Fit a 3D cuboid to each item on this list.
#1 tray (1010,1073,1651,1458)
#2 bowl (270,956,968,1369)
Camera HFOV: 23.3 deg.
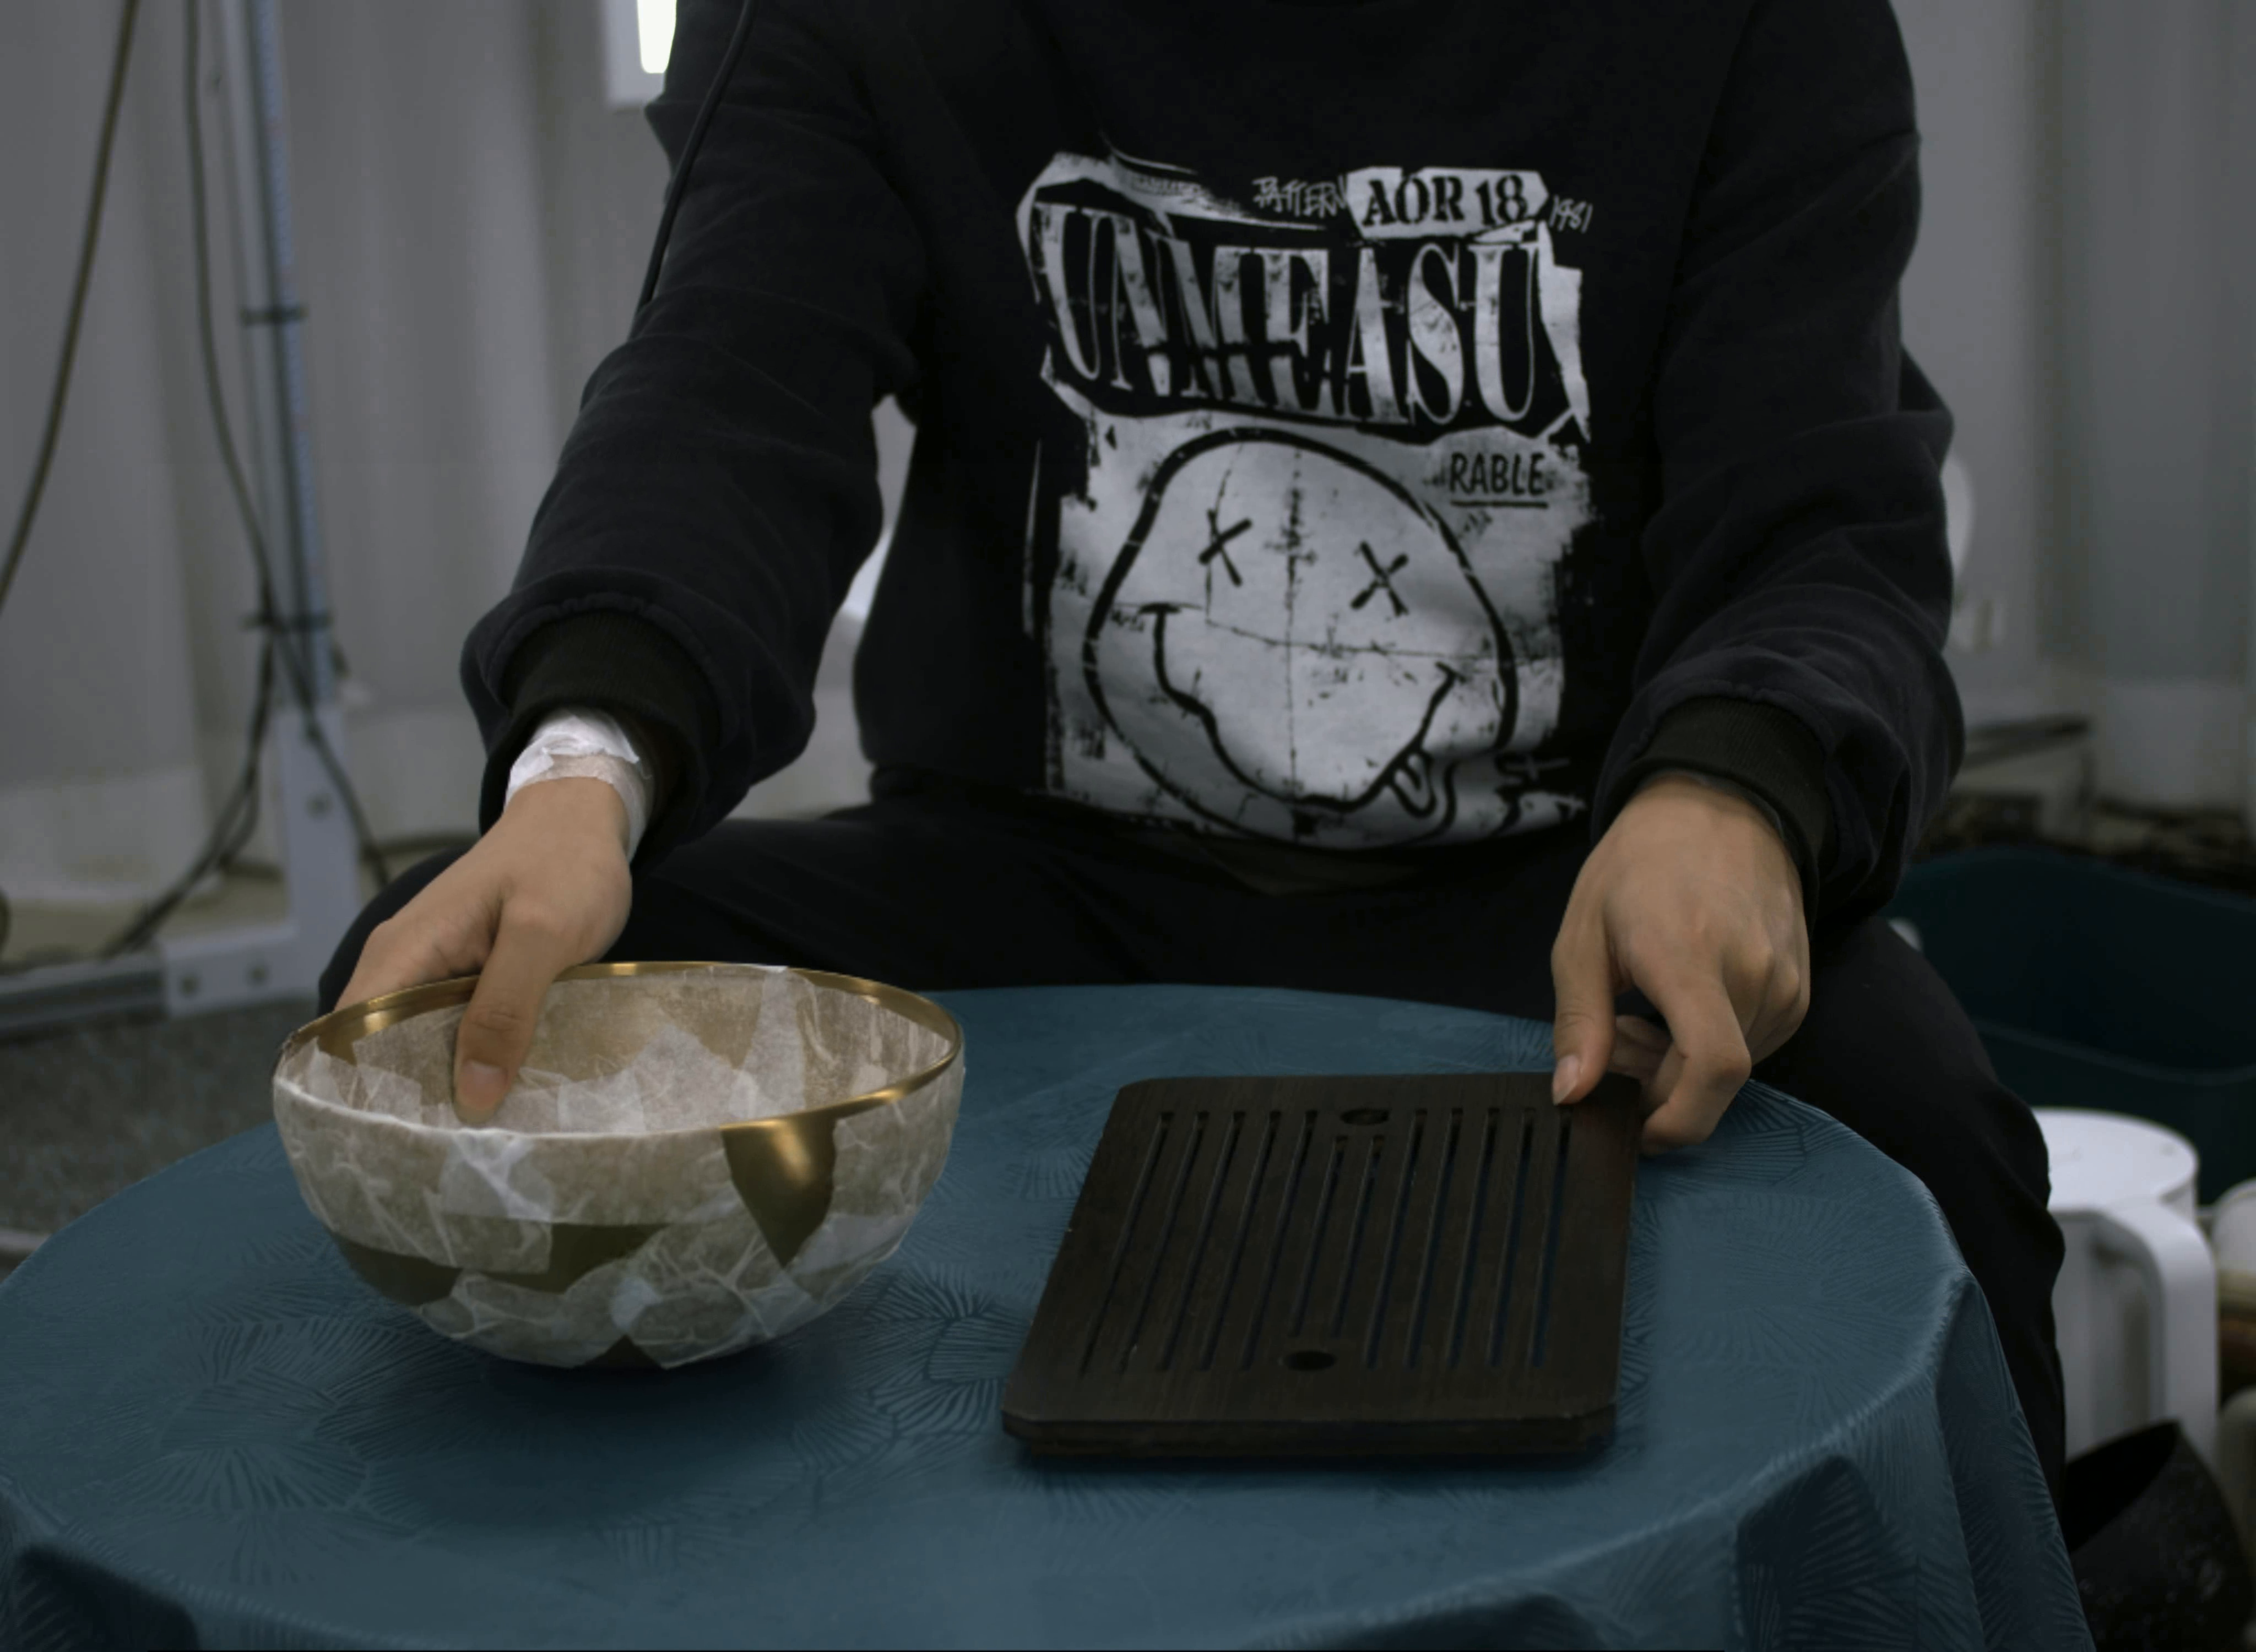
[{"bbox_3d":[0.068,0.128,1.618,0.170,0.018,0.307,-1,15,7],"label":"tray"},{"bbox_3d":[-0.143,0.105,1.597,0.214,0.094,0.216,-2,12,0],"label":"bowl"}]
